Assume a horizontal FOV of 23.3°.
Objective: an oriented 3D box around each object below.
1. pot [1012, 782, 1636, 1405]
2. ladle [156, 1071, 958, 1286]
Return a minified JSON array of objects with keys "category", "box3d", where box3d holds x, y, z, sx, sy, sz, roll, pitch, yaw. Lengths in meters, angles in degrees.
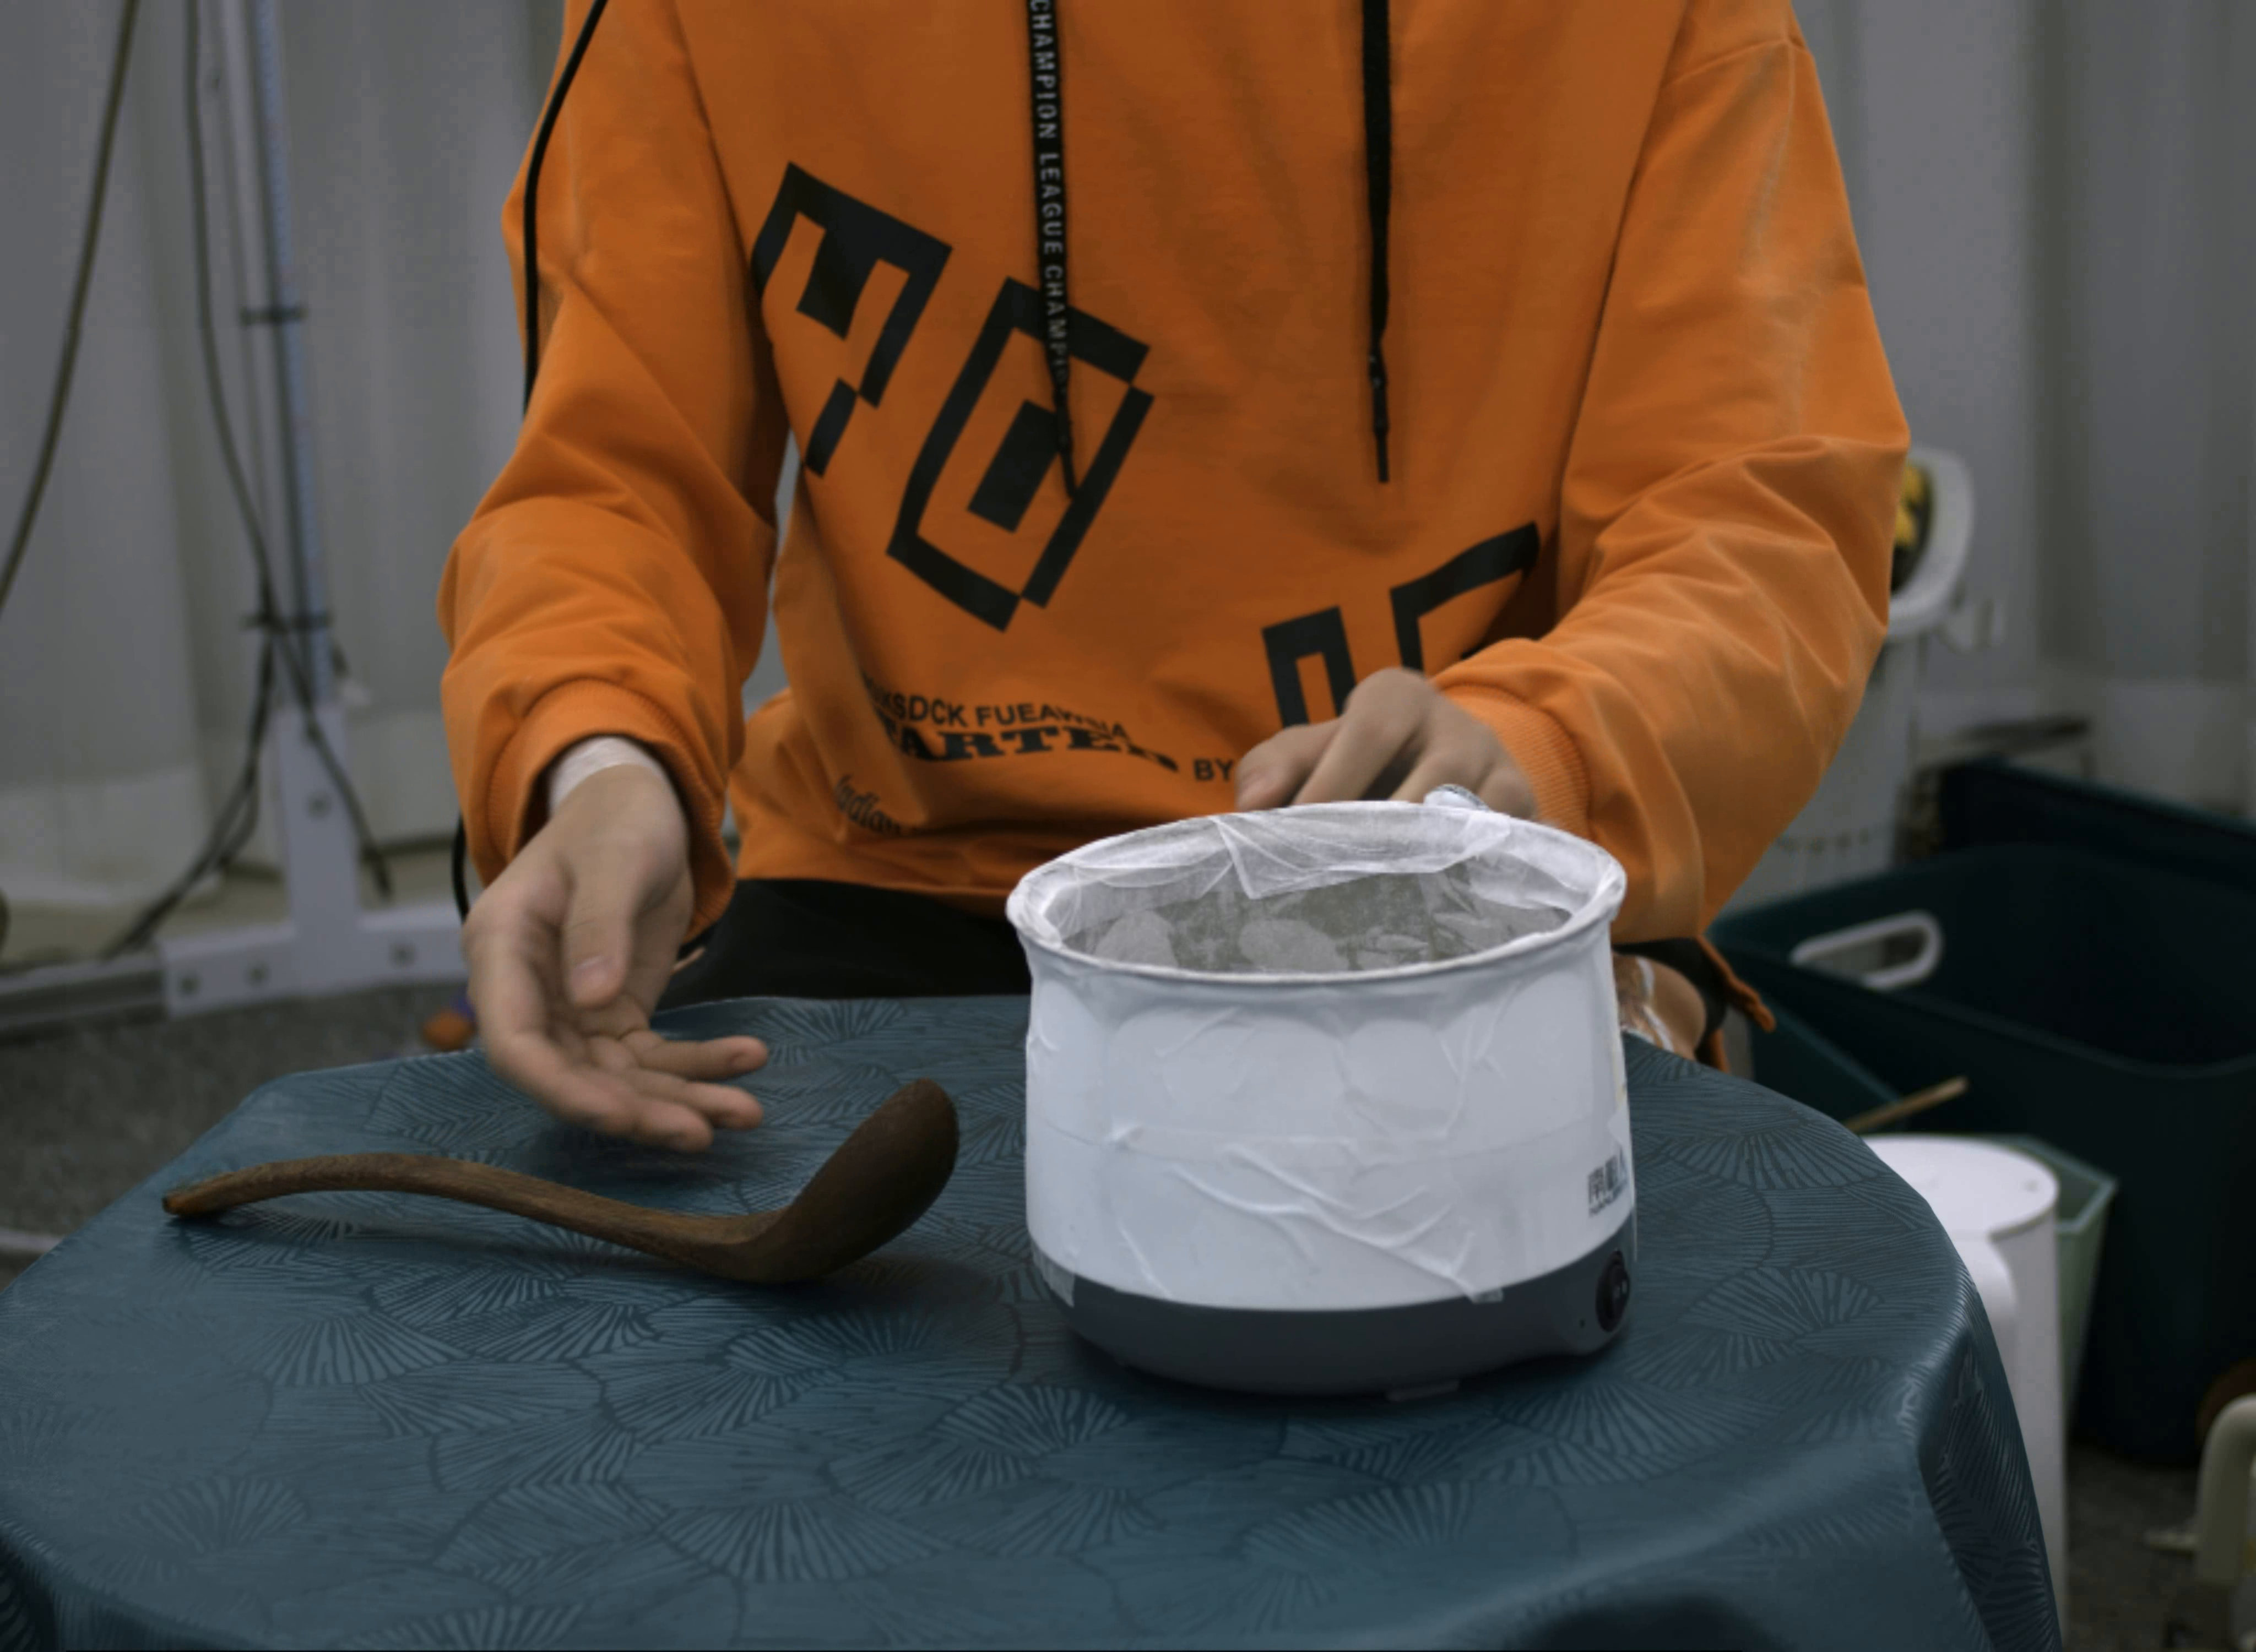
[{"category":"pot","box3d":[0.069,0.071,1.600,0.179,0.136,0.234,4,17,24]},{"category":"ladle","box3d":[-0.180,0.098,1.678,0.274,0.071,0.076,5,8,25]}]
